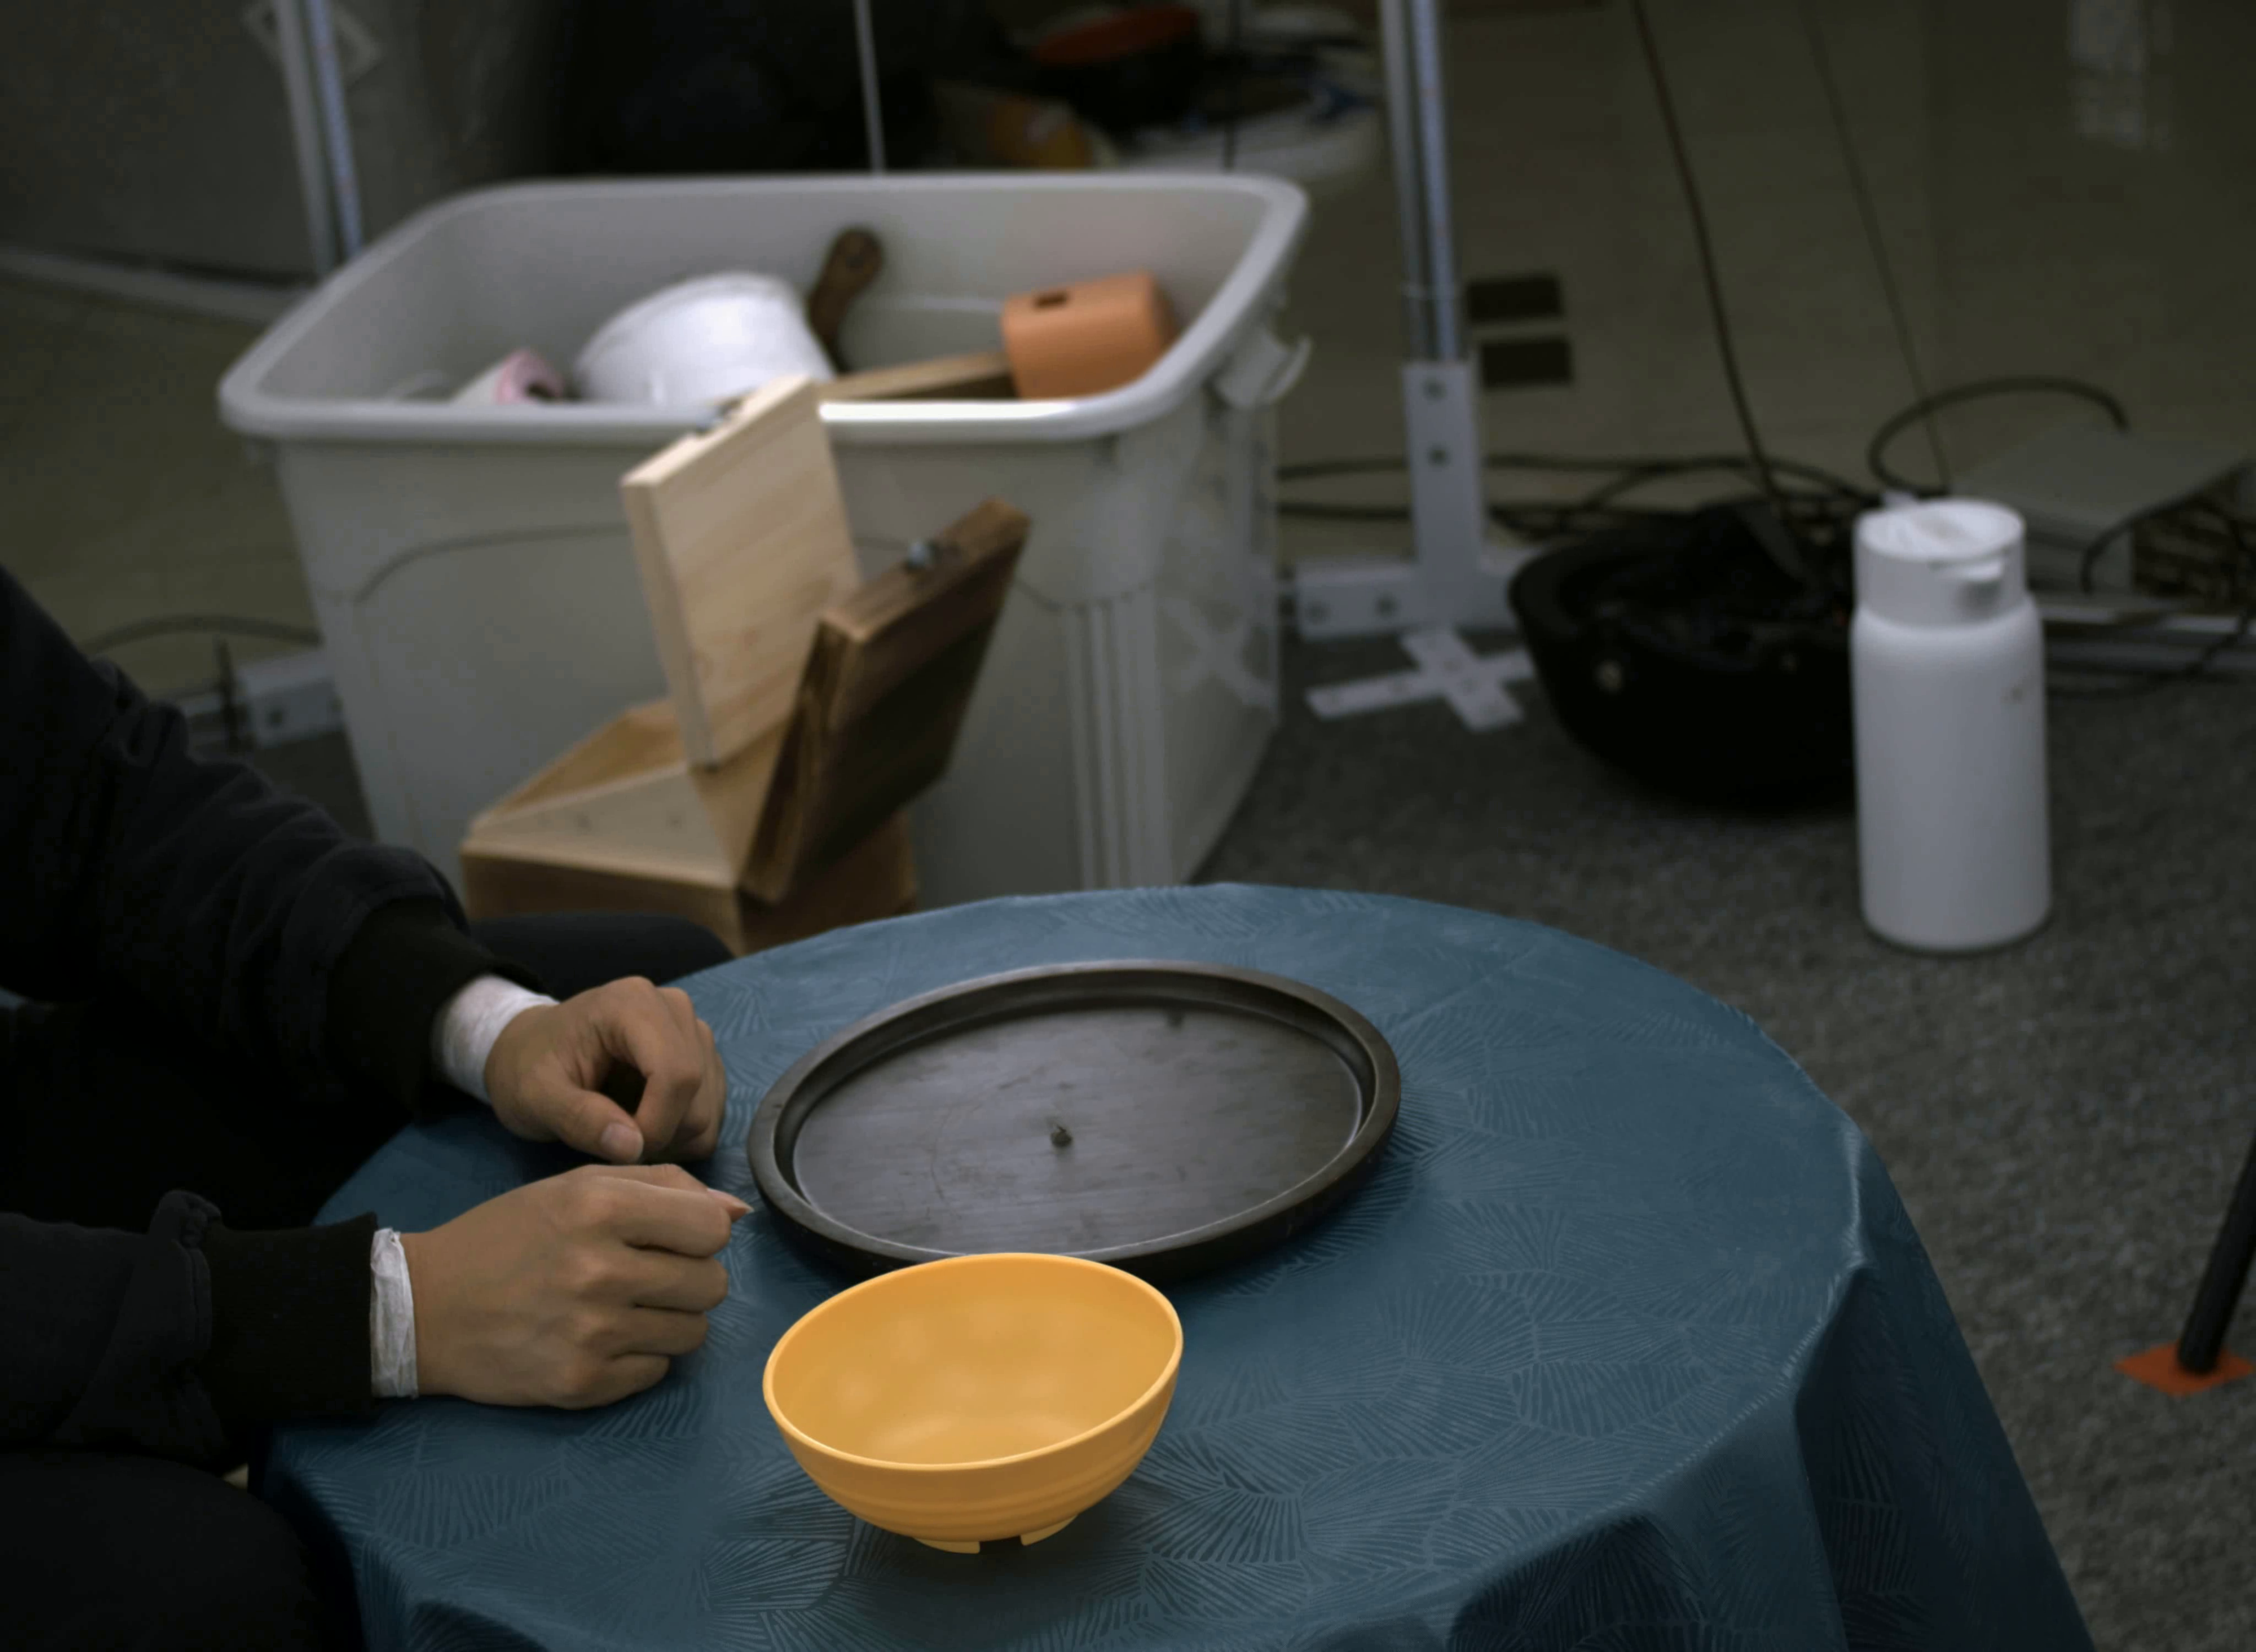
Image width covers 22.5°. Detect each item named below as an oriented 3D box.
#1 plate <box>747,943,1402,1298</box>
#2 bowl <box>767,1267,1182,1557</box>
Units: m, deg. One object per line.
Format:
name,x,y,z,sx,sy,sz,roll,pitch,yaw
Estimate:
plate,-0.020,0.117,2.178,0.254,0.029,0.251,-6,26,3
bowl,-0.049,0.209,1.948,0.145,0.061,0.143,-6,23,3
